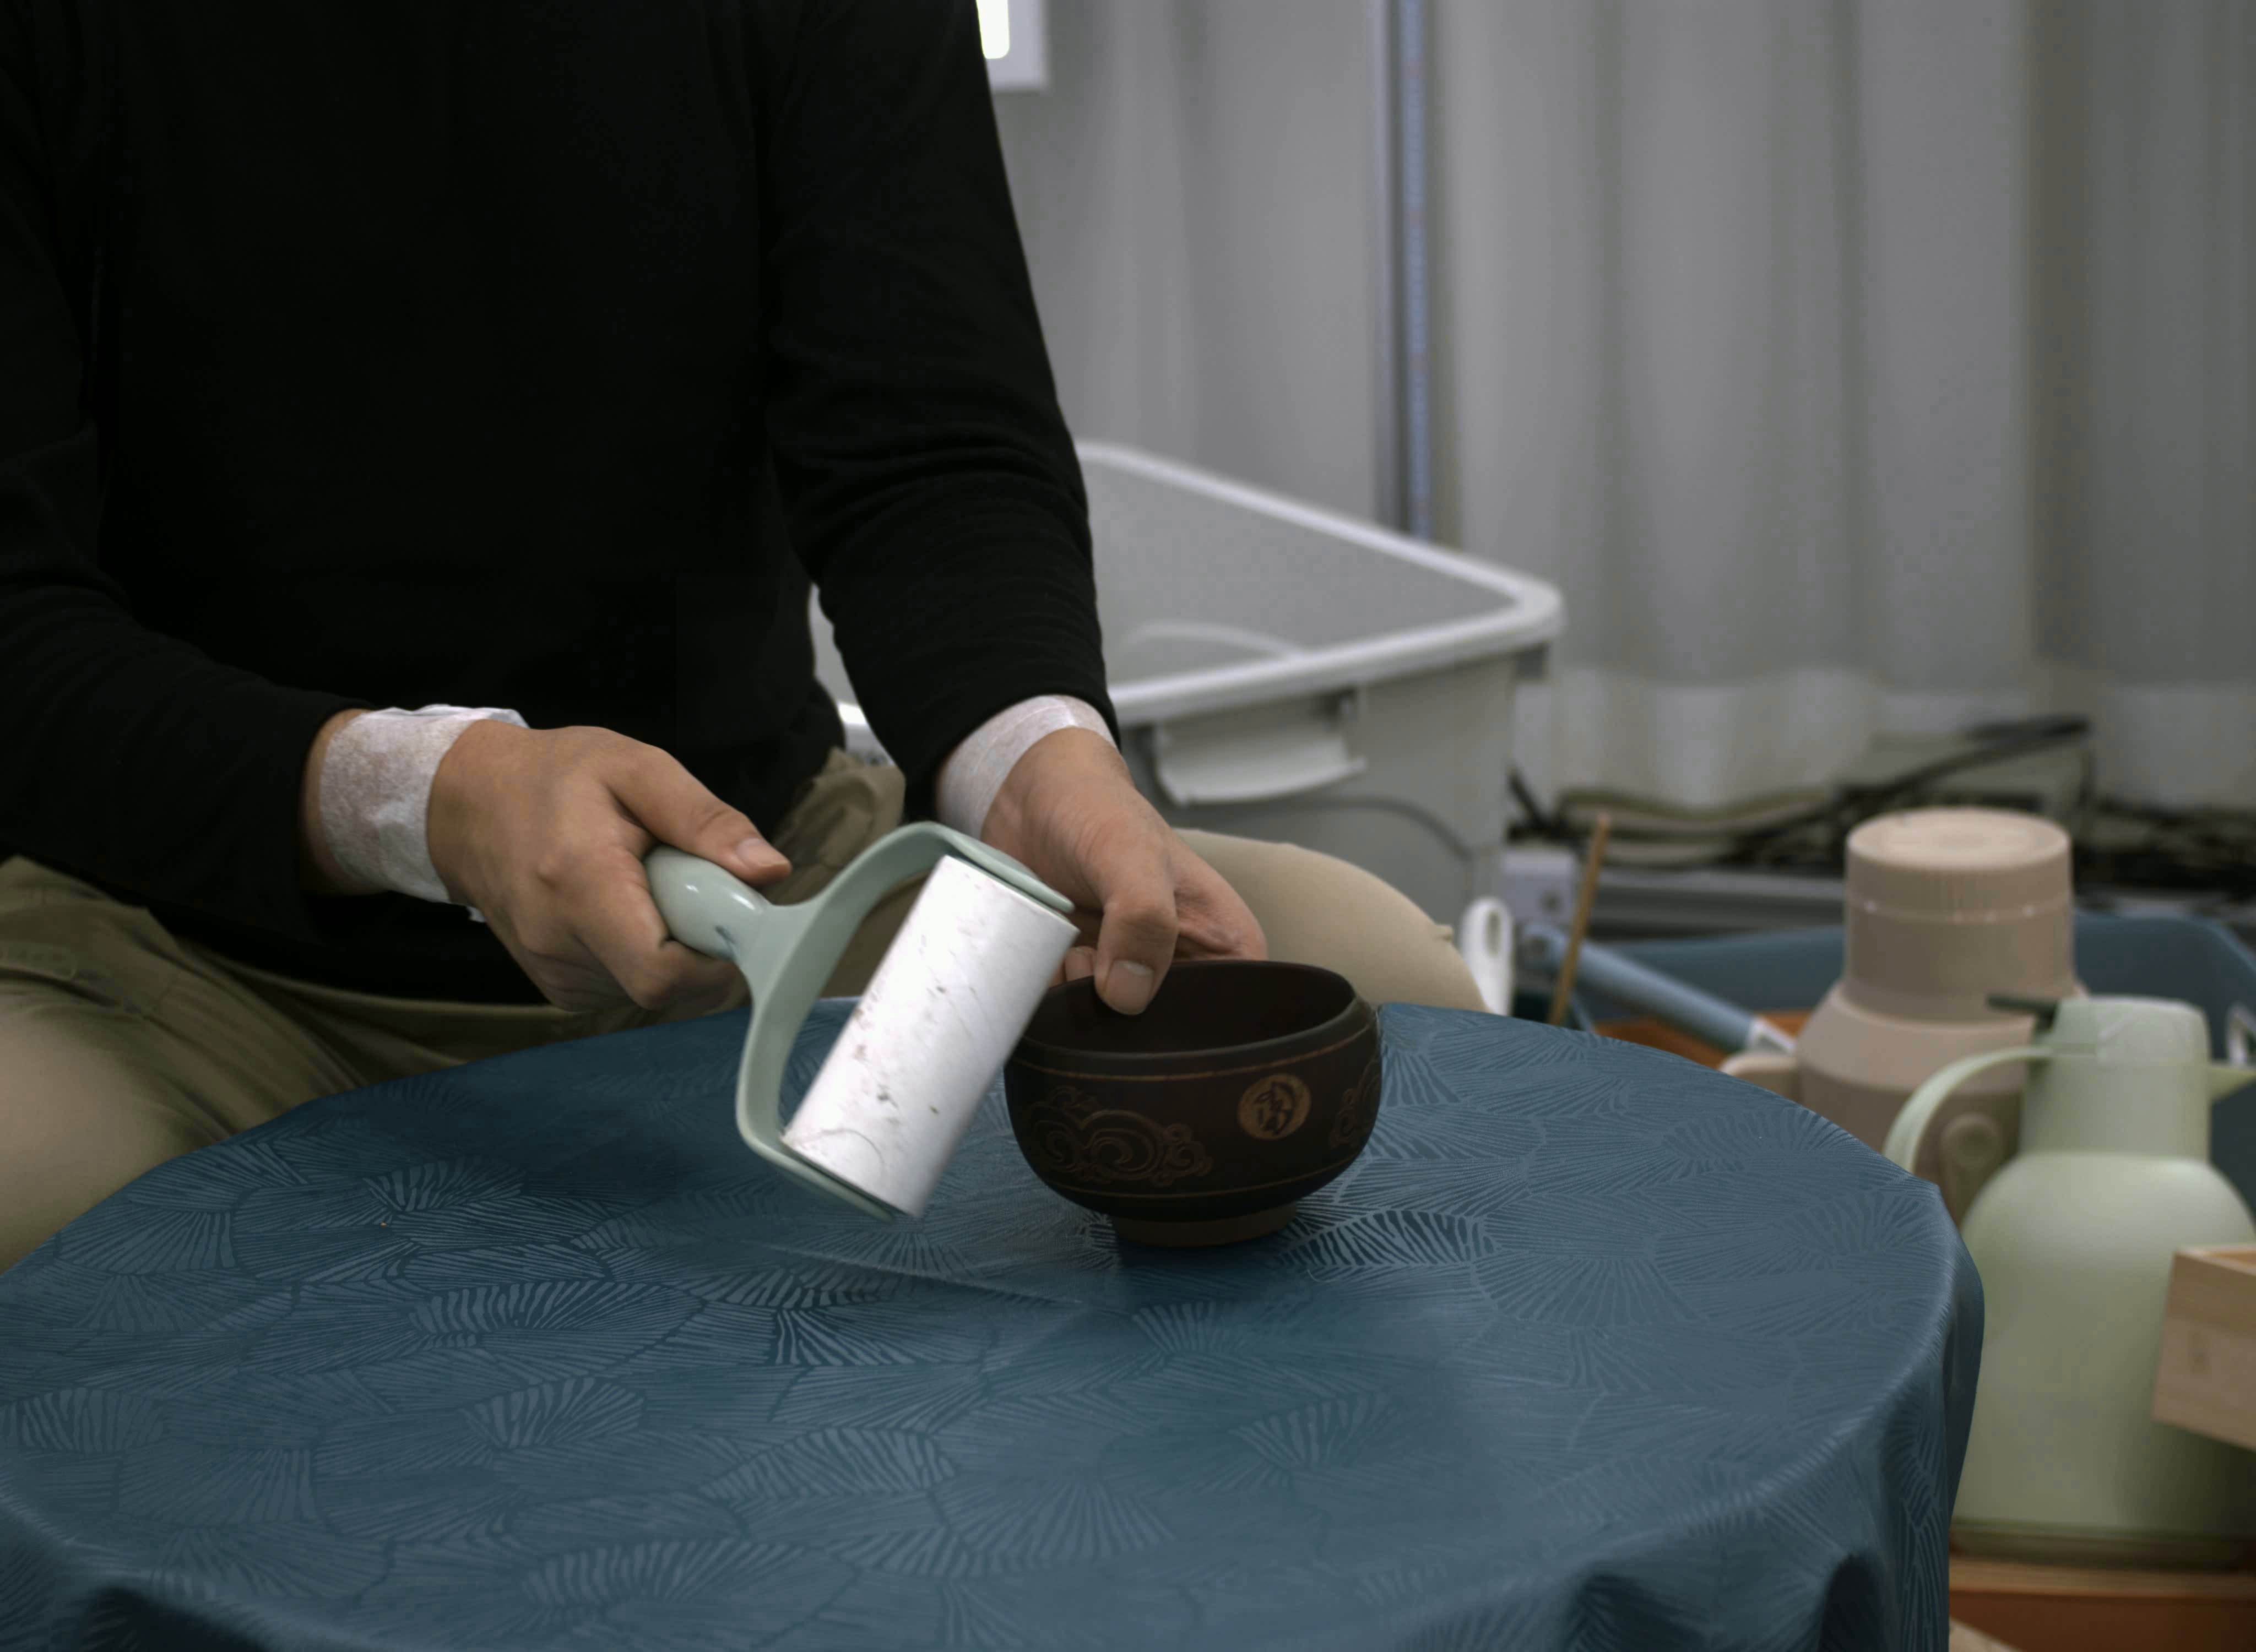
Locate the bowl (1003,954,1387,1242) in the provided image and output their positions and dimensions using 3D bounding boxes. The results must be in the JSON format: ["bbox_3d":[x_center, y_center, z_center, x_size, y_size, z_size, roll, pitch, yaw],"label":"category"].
[{"bbox_3d":[0.022,0.086,1.673,0.117,0.070,0.118,-5,11,1],"label":"bowl"}]

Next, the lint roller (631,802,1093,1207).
[{"bbox_3d":[-0.100,0.034,1.683,0.199,0.117,0.048,26,-4,45],"label":"lint roller"}]
